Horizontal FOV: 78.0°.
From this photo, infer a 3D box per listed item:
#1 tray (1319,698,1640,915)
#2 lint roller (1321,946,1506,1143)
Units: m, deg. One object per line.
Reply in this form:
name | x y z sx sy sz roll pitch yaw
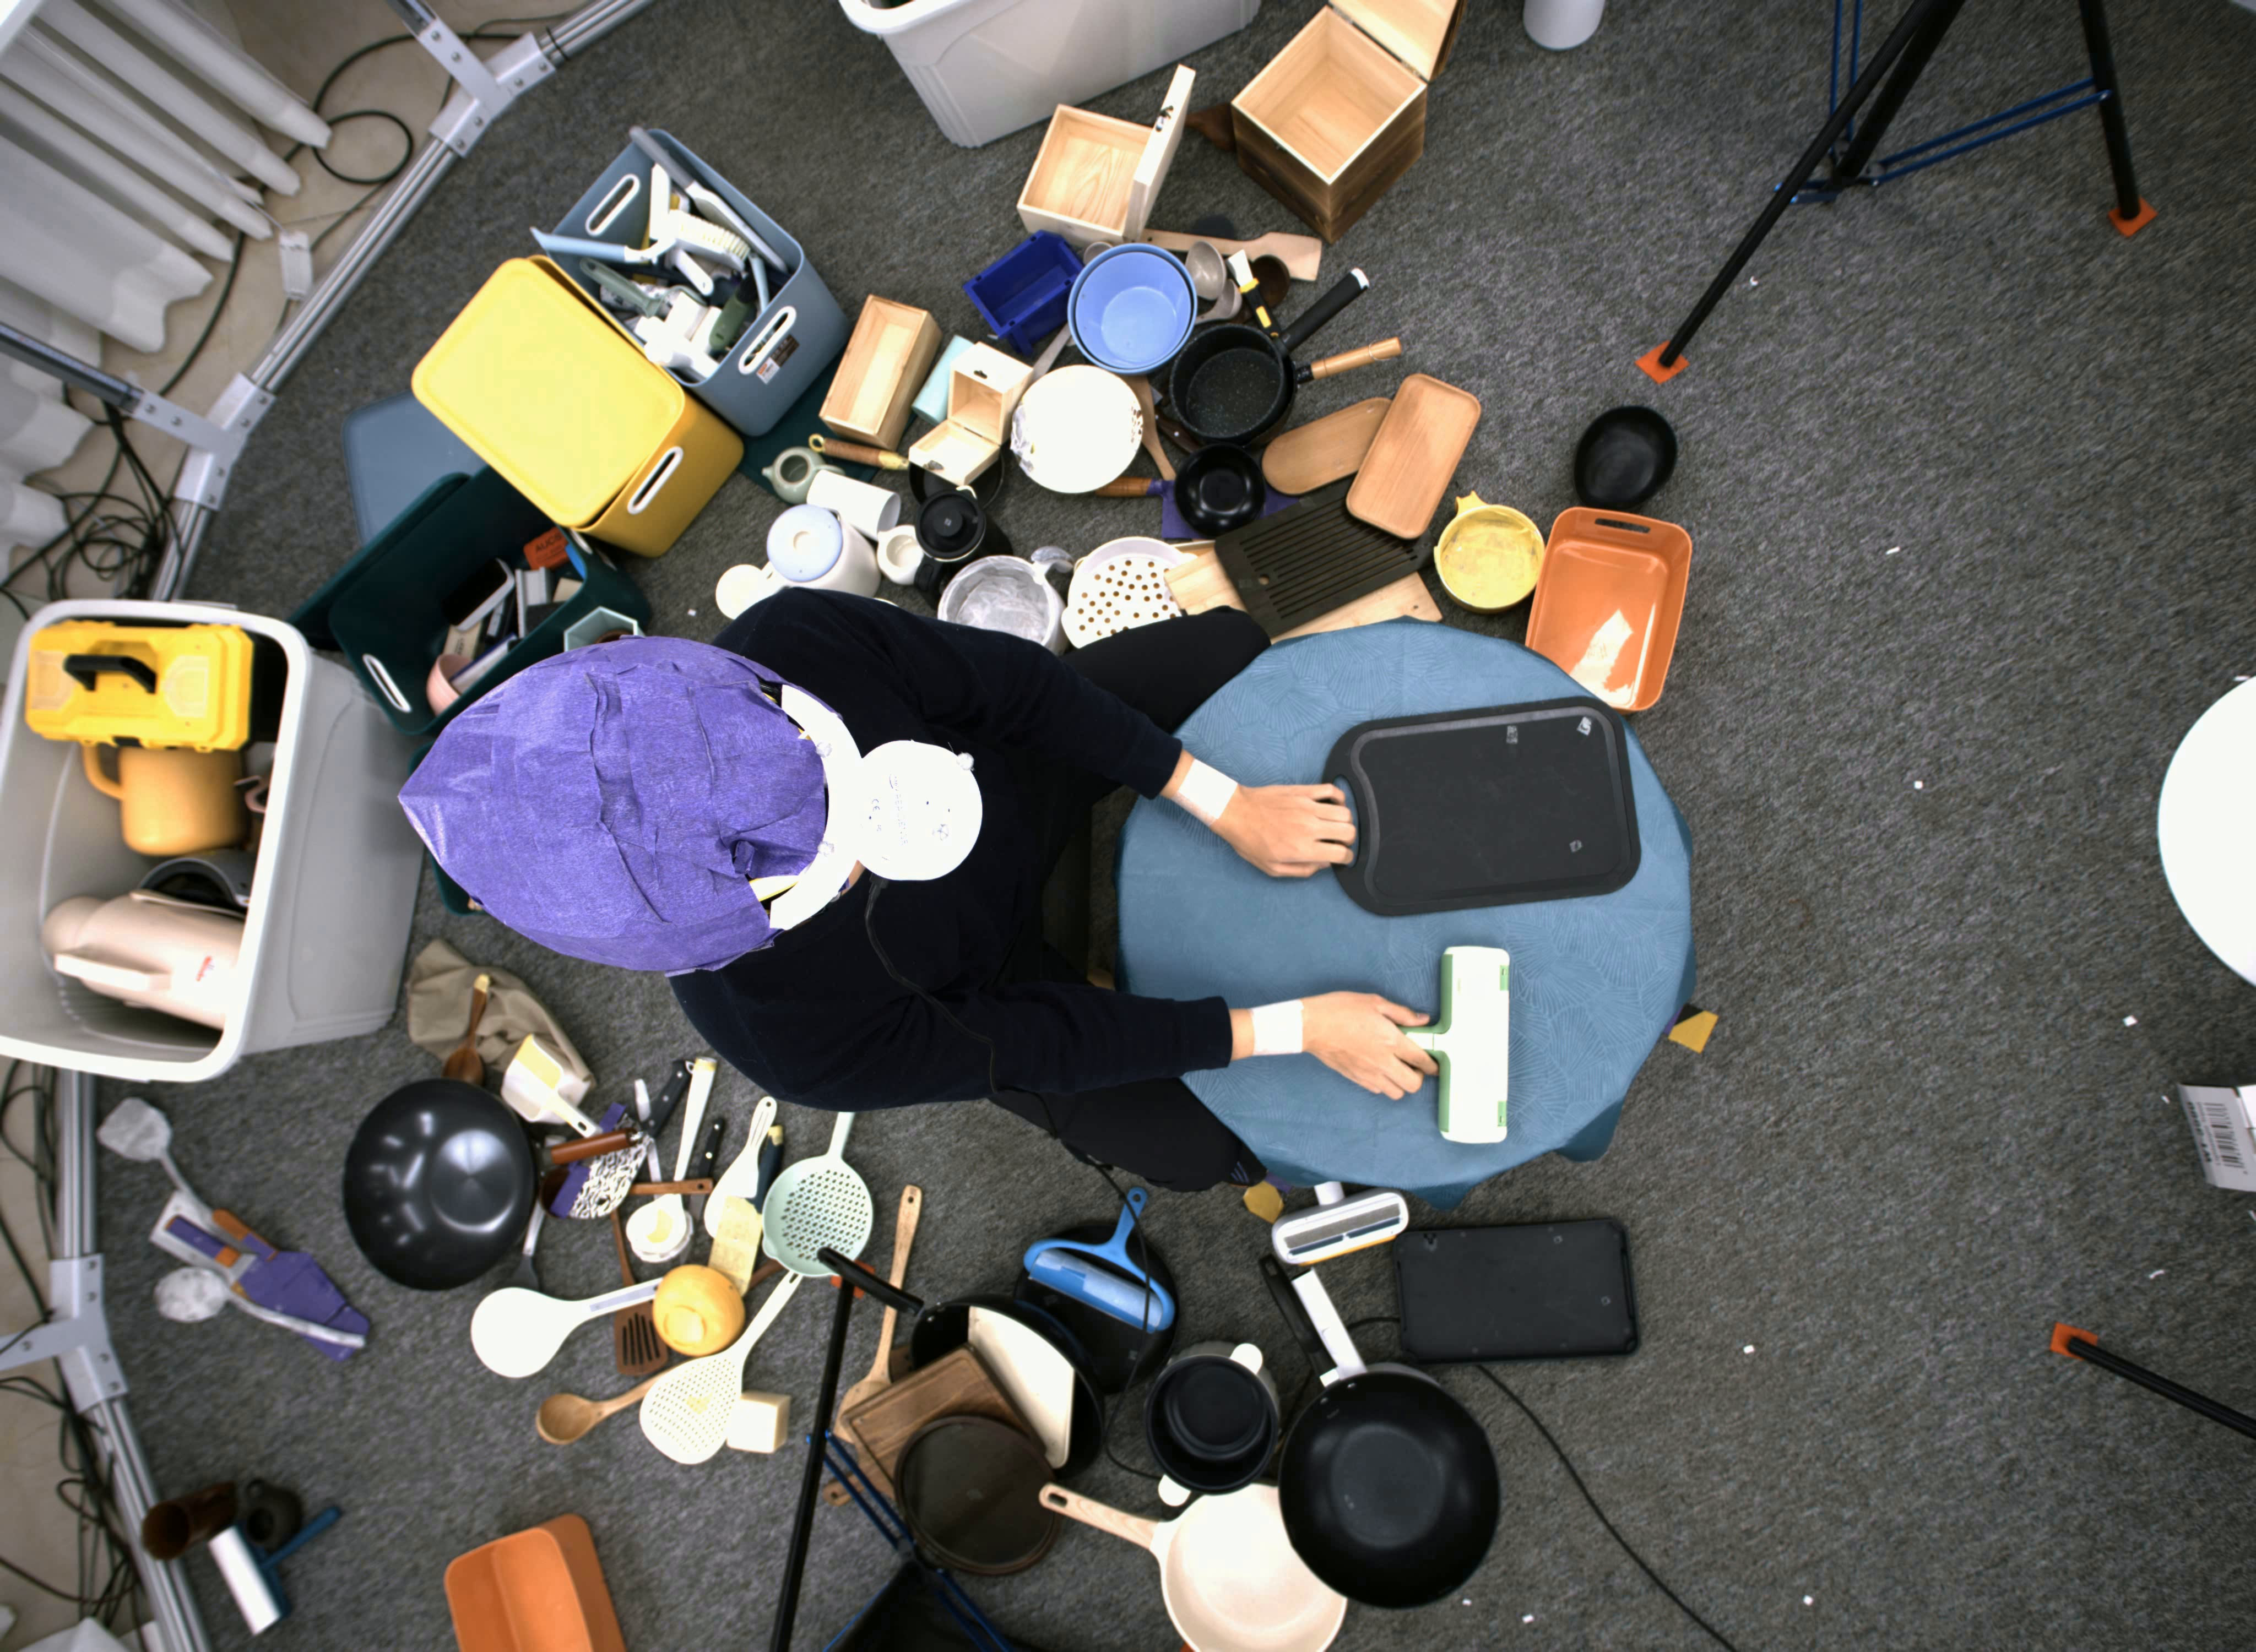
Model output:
tray | 0.364 -0.021 1.441 0.327 0.010 0.210 -6 86 8
lint roller | 0.291 0.218 1.404 0.184 0.082 0.197 1 86 4
